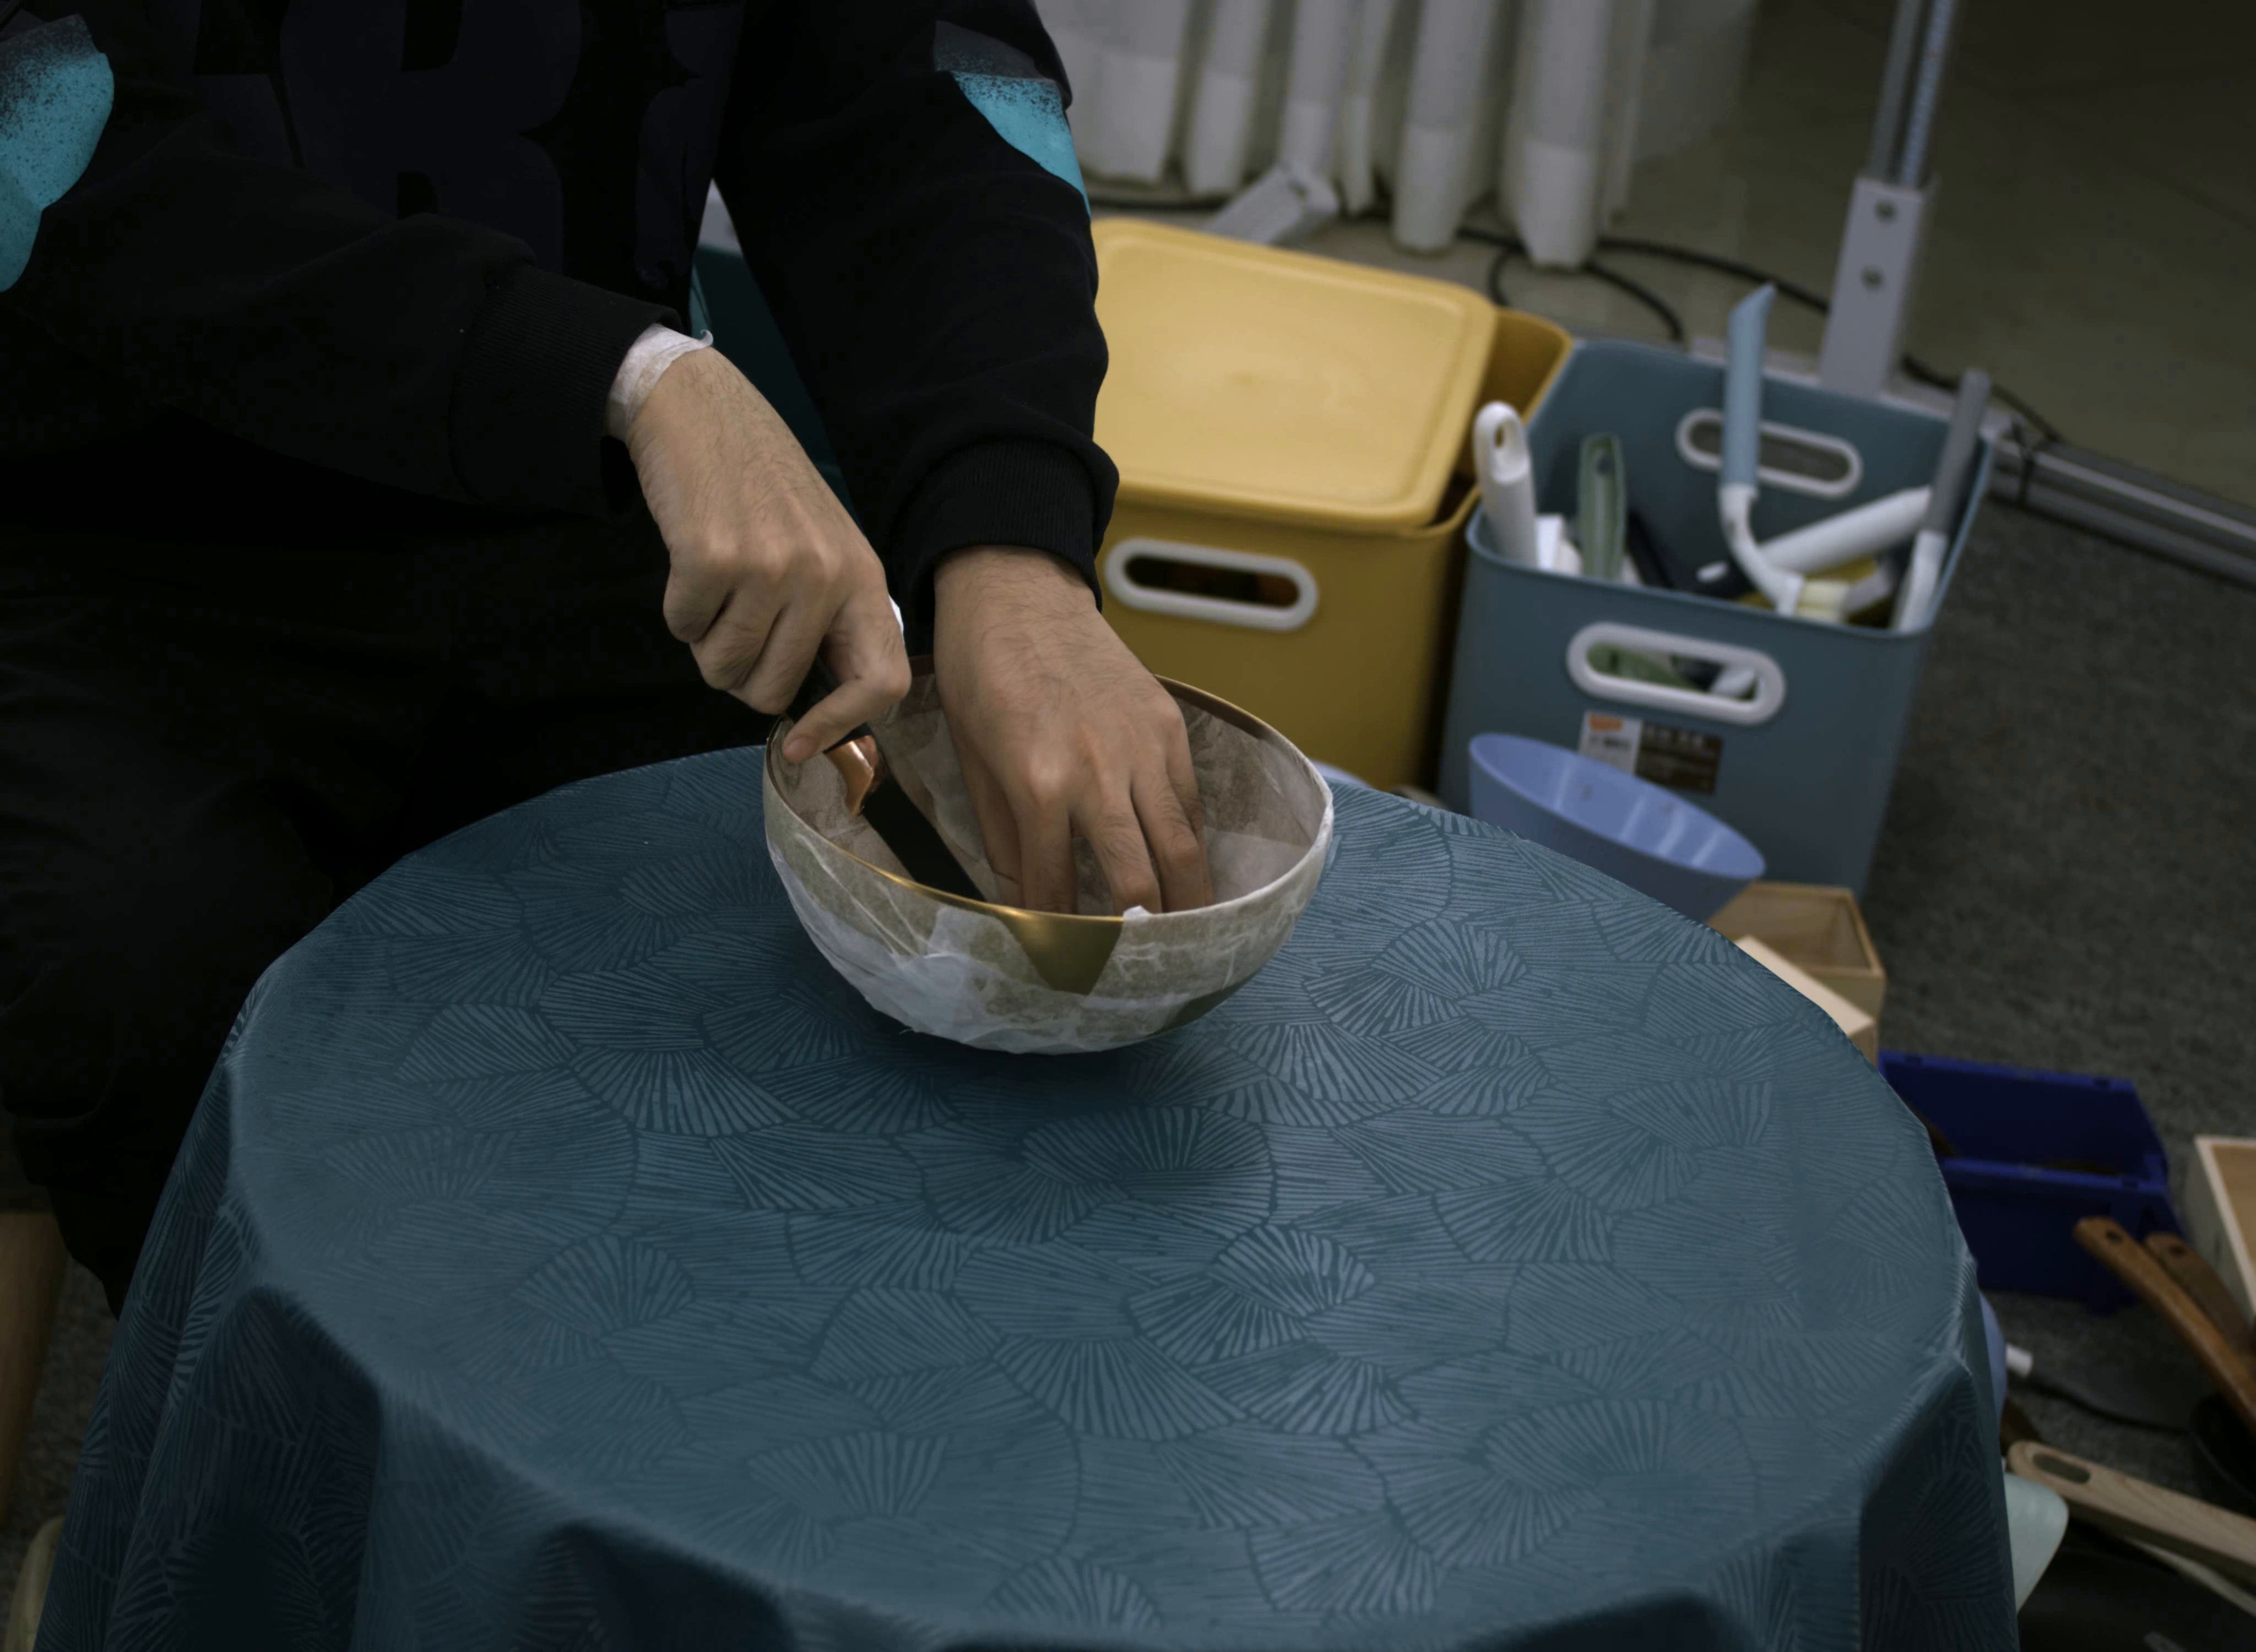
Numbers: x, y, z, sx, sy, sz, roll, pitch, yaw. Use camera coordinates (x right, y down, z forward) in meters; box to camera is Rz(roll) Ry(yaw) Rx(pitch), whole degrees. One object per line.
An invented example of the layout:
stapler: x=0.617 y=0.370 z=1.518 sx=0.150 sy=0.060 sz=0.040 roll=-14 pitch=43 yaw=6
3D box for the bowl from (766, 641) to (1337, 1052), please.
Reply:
bowl: x=-0.034 y=0.018 z=1.894 sx=0.214 sy=0.094 sz=0.216 roll=5 pitch=29 yaw=-3

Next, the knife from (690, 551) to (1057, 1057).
knife: x=-0.088 y=-0.009 z=1.867 sx=0.017 sy=0.026 sz=0.227 roll=-17 pitch=62 yaw=-45
